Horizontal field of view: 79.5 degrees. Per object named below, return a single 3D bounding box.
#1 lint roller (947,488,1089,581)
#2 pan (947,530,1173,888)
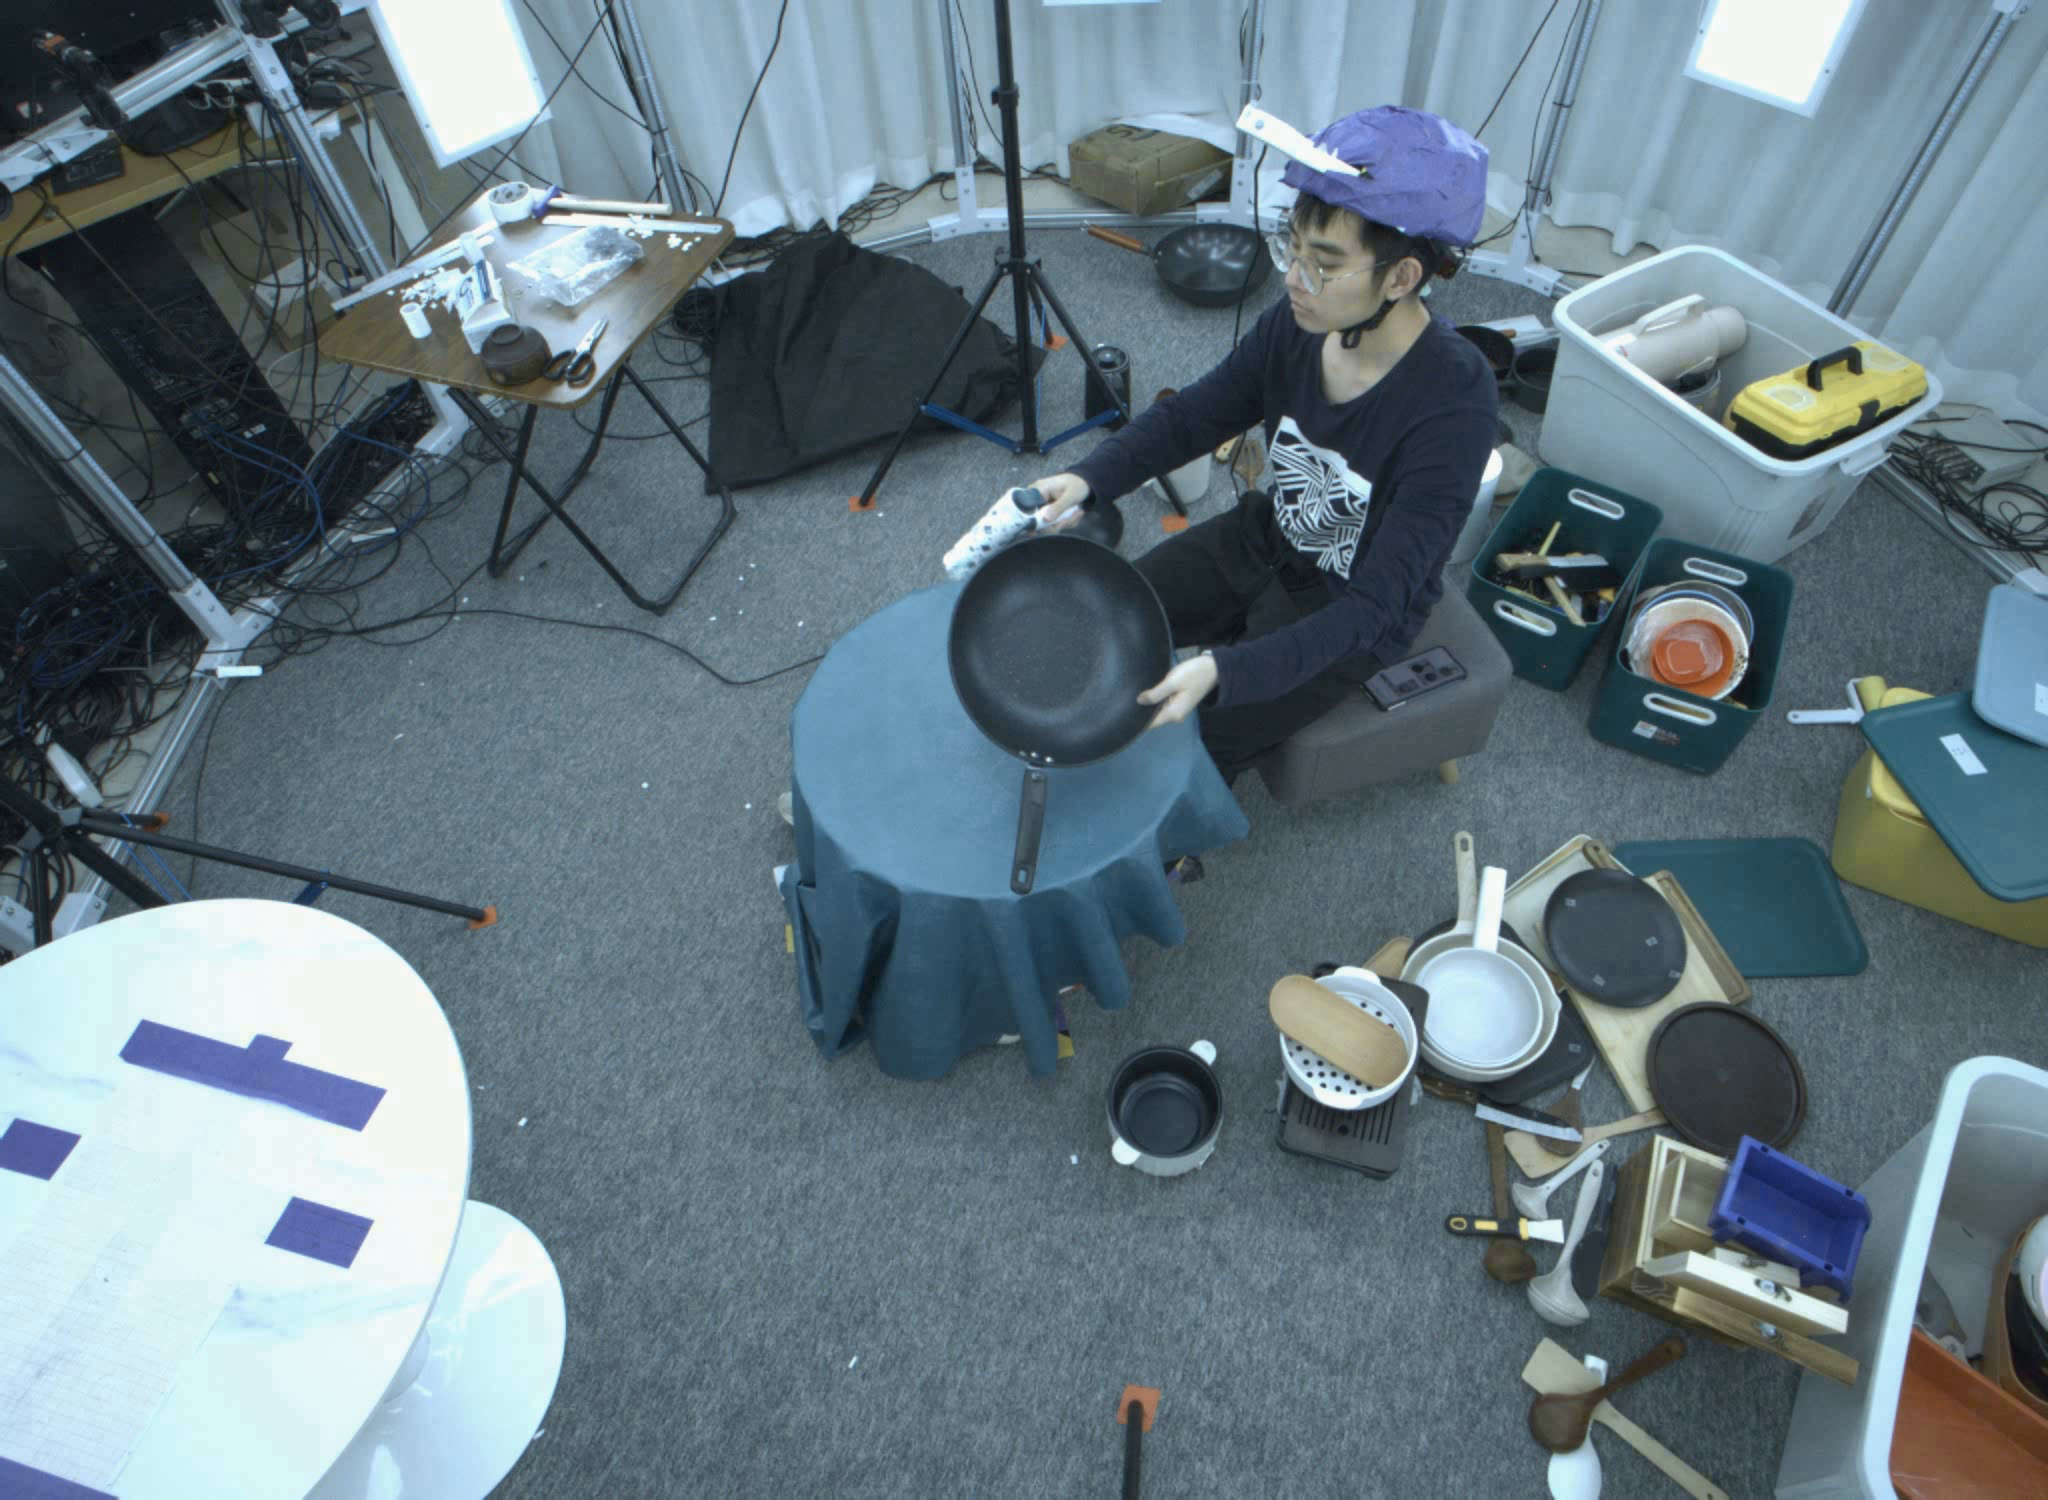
[{"bbox_3d":[0.013,-0.327,1.744,0.050,0.174,0.250,55,41,2],"label":"lint roller"},{"bbox_3d":[0.028,-0.054,1.632,0.314,0.110,0.476,13,84,-16],"label":"pan"}]
